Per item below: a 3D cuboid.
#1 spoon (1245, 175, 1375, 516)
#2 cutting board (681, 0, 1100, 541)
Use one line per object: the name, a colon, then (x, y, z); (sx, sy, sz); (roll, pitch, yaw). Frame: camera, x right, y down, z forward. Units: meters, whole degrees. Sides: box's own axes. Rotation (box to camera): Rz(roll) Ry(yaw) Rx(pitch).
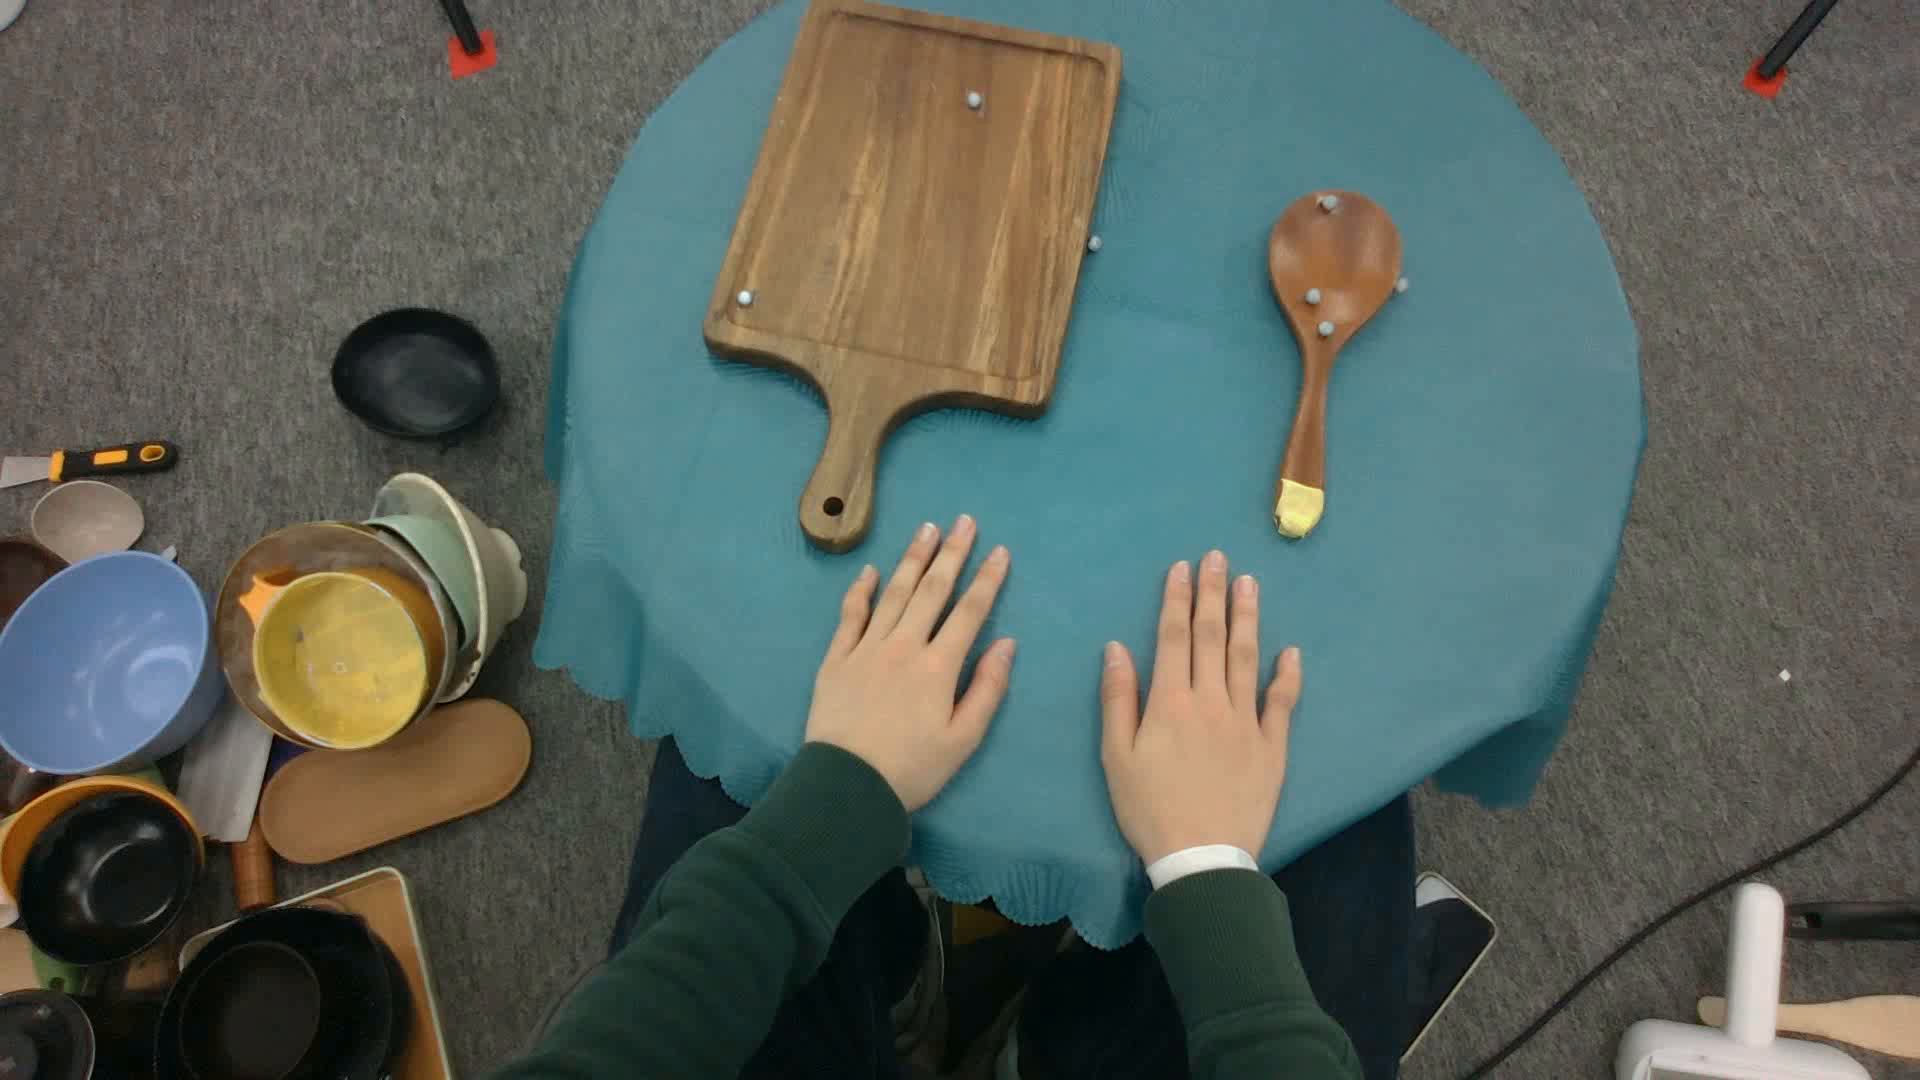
spoon: (0.186, -0.111, 0.761); (0.075, 0.017, 0.216); (12, 67, 1)
cutting board: (-0.044, -0.163, 0.777); (0.201, 0.023, 0.353); (12, 68, 2)
